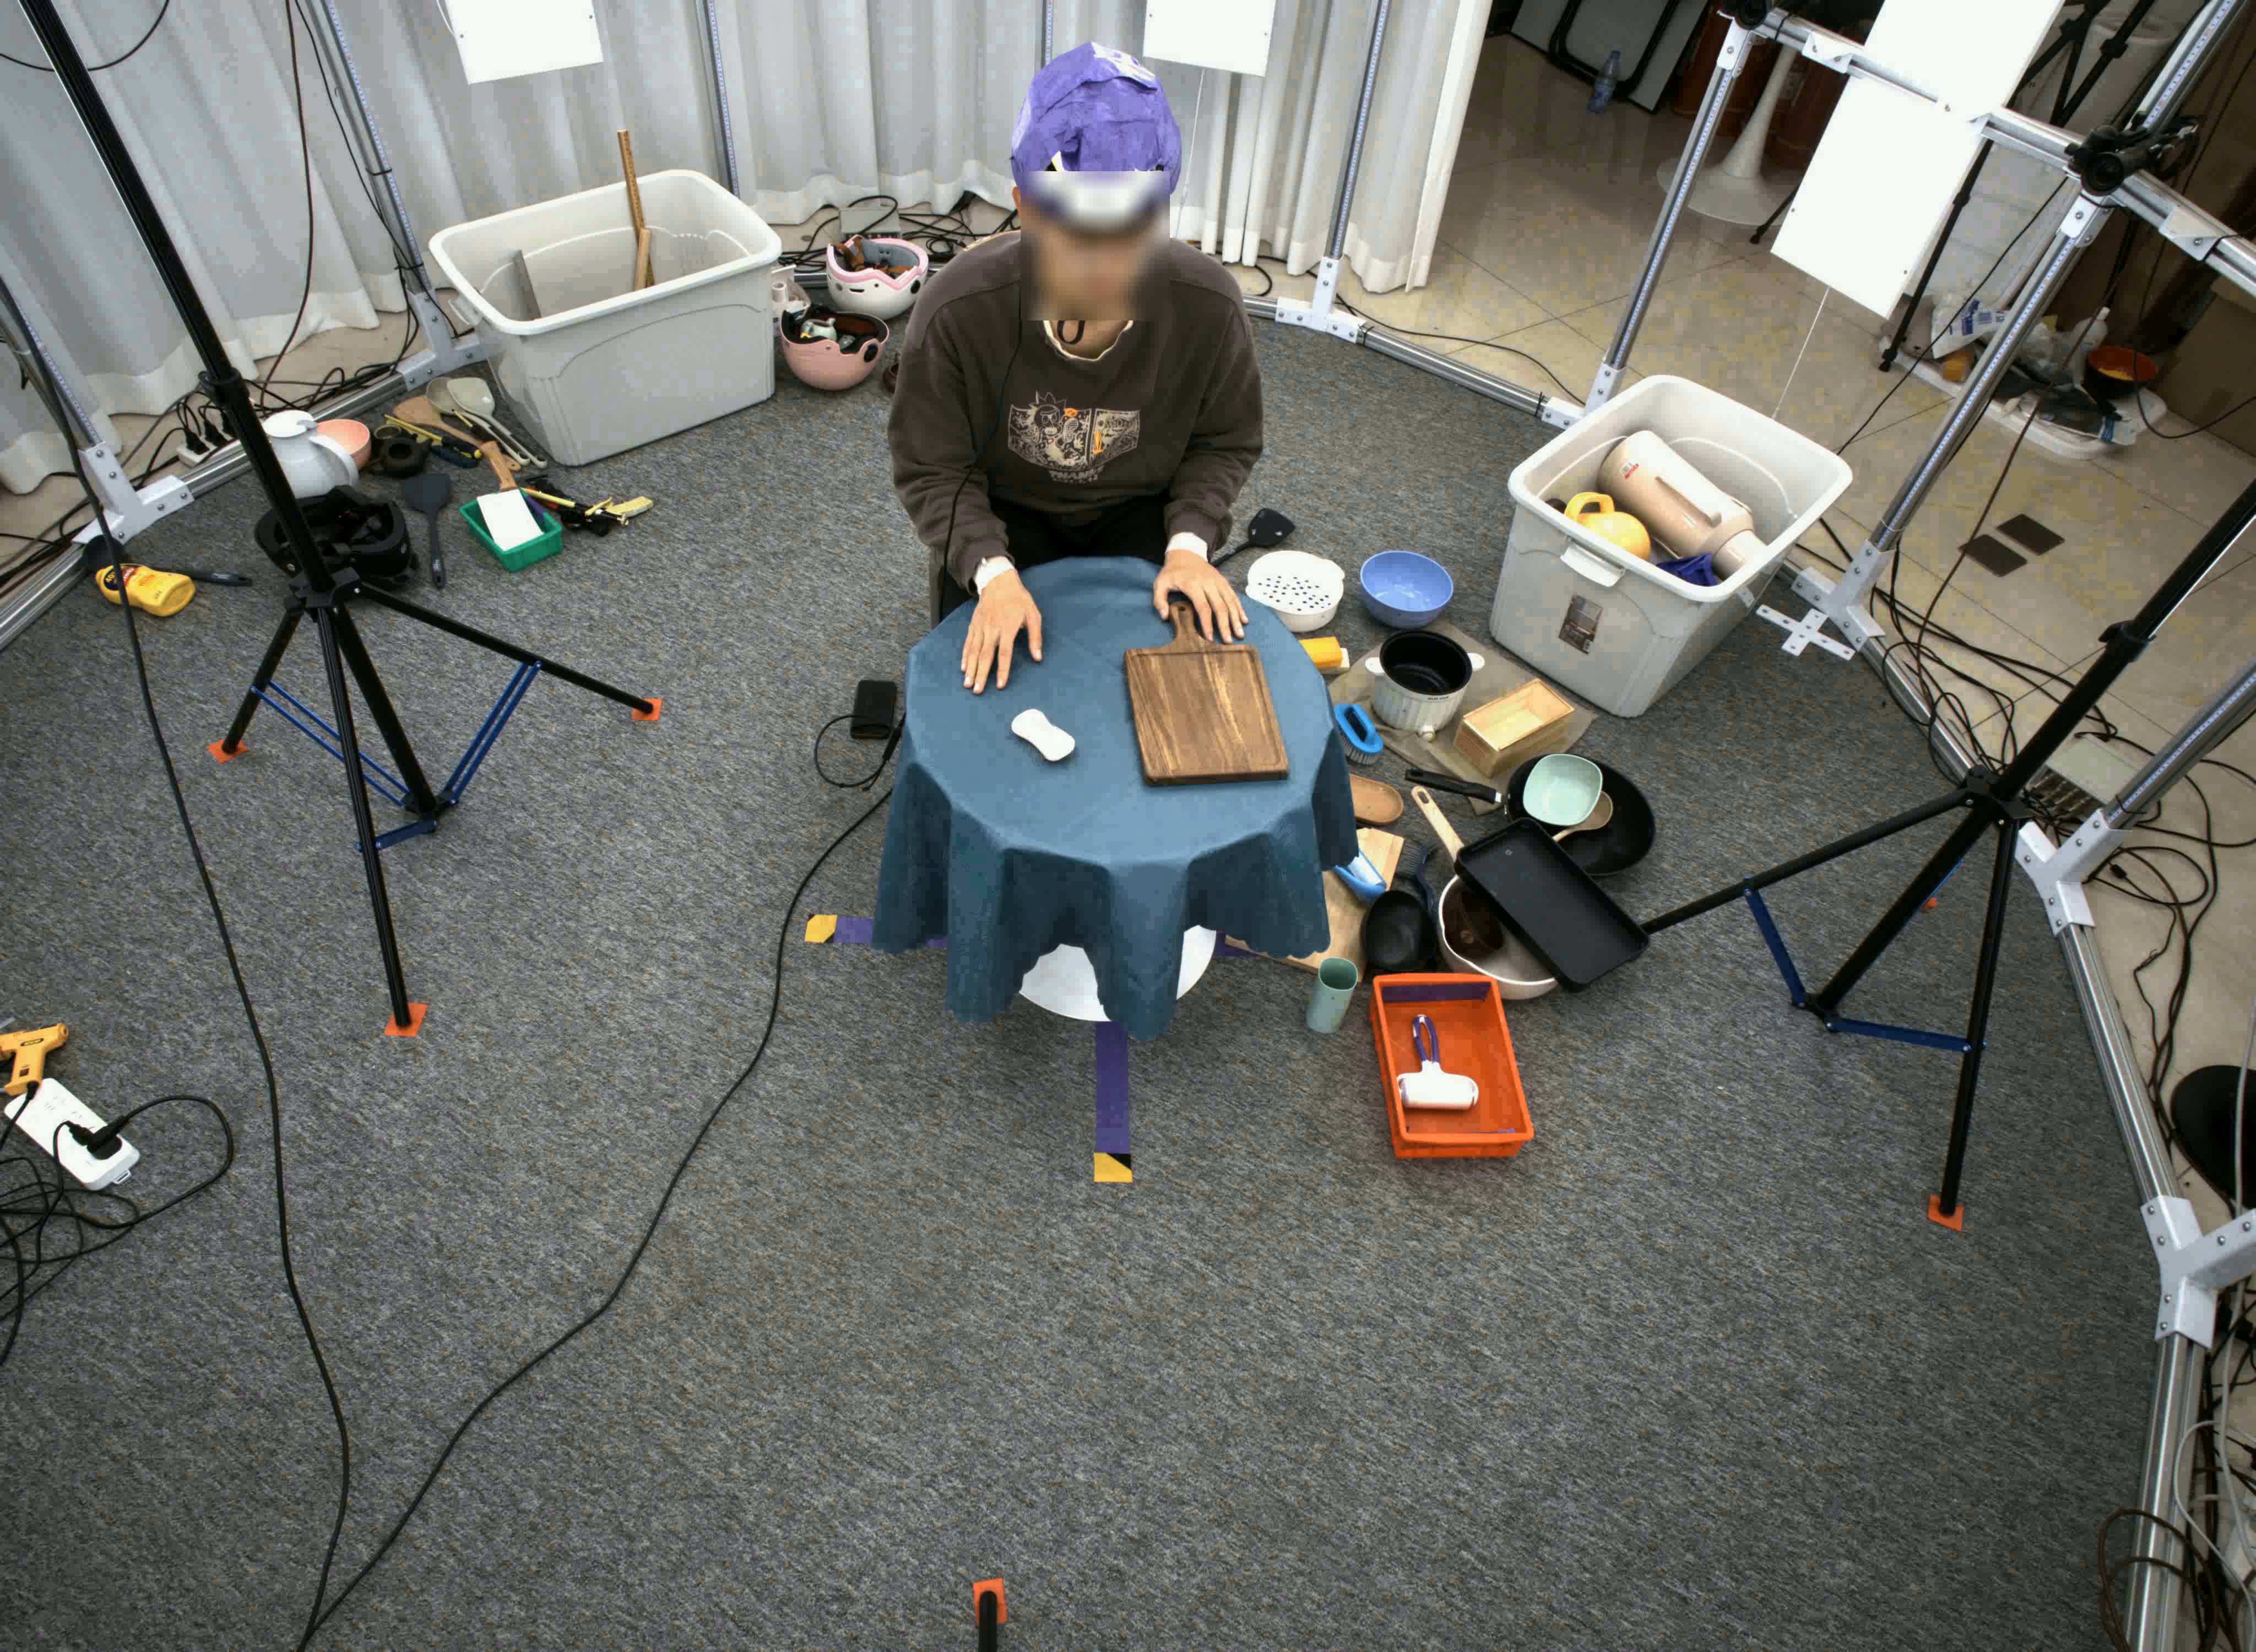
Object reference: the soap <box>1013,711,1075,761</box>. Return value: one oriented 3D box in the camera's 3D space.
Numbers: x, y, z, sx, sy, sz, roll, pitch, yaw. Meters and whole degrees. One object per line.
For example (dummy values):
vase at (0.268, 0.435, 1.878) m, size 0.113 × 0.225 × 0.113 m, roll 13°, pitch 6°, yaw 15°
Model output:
soap at (-0.115, -0.123, 1.747) m, size 0.051 × 0.029 × 0.096 m, roll -33°, pitch 56°, yaw -28°

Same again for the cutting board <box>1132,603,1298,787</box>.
cutting board at (0.113, -0.196, 1.830) m, size 0.201 × 0.022 × 0.361 m, roll -3°, pitch 49°, yaw -6°
